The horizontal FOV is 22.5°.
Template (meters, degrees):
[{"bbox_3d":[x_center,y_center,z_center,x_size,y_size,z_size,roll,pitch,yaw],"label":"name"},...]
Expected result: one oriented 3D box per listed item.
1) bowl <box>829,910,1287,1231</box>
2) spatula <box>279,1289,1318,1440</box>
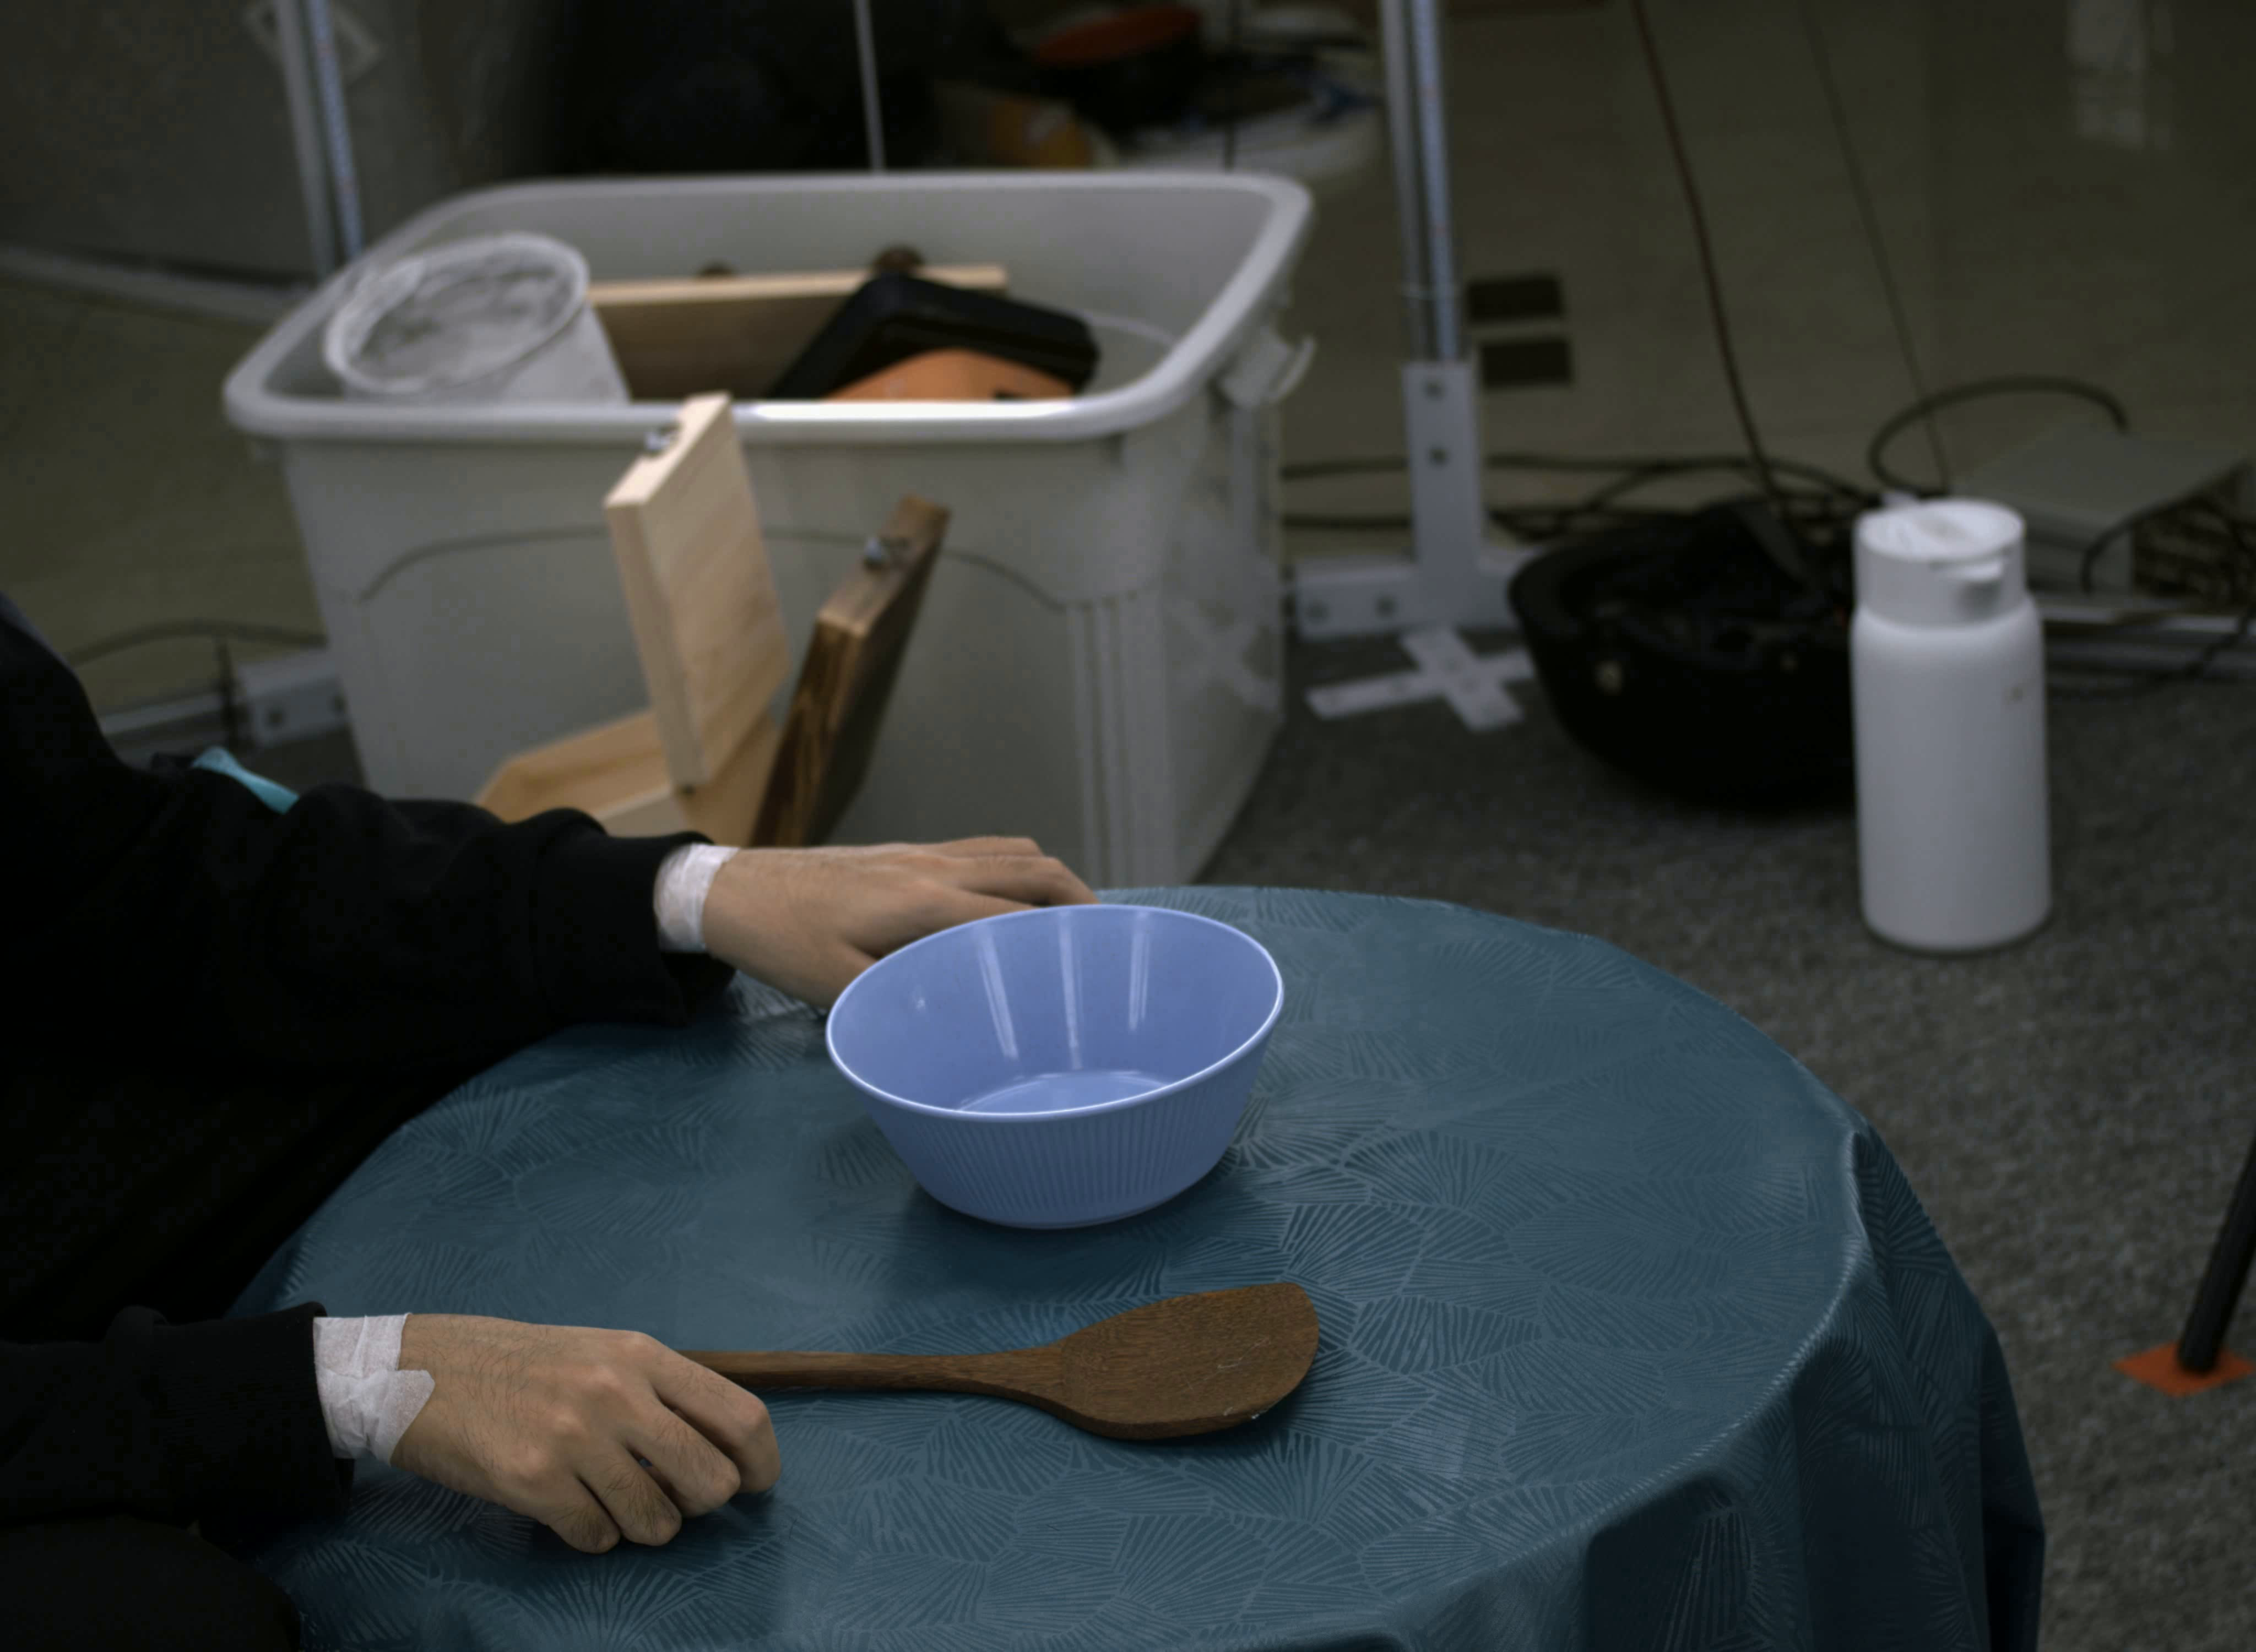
[{"bbox_3d":[-0.023,0.099,2.162,0.176,0.071,0.173,-6,24,3],"label":"bowl"},{"bbox_3d":[-0.122,0.196,2.044,0.385,0.016,0.095,-2,25,11],"label":"spatula"}]
